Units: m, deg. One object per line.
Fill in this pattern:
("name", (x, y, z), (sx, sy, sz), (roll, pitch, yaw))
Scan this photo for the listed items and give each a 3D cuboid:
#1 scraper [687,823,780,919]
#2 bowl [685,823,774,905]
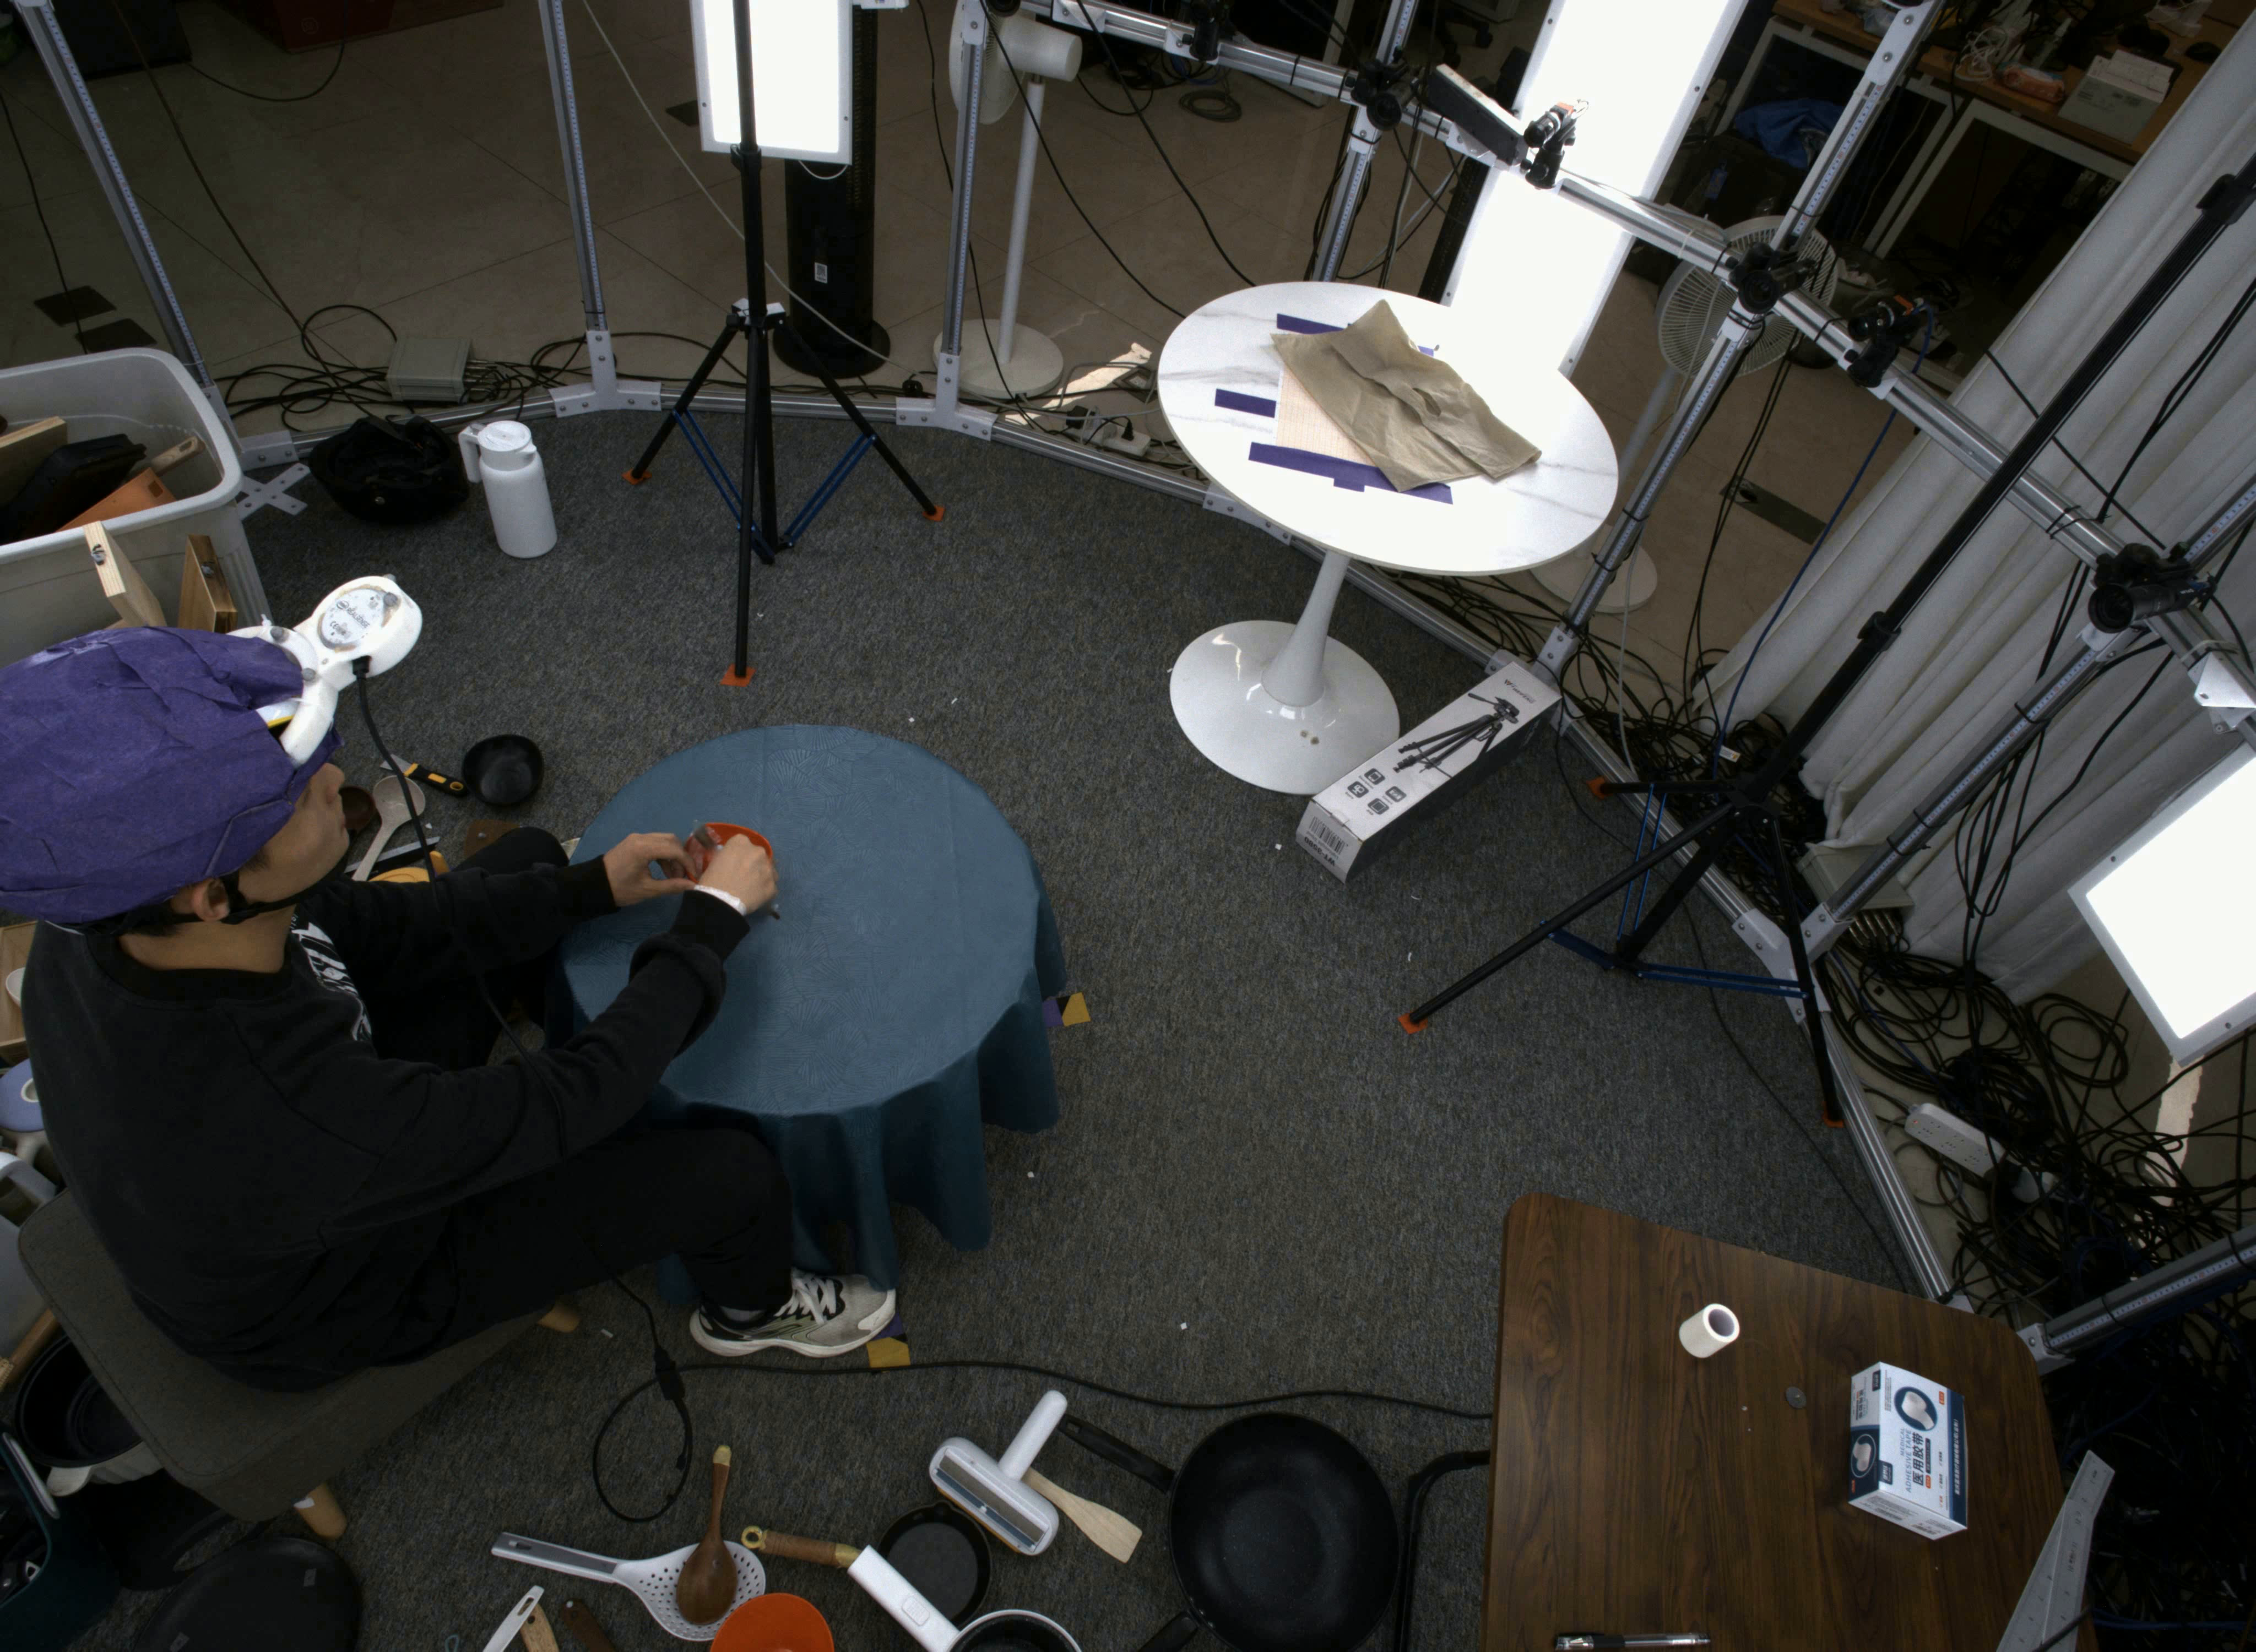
("scraper", (-0.468, 0.056, 1.545), (0.011, 0.079, 0.203), (-49, 48, -8))
("bowl", (-0.506, 0.054, 1.626), (0.120, 0.051, 0.116), (20, 44, -19))
